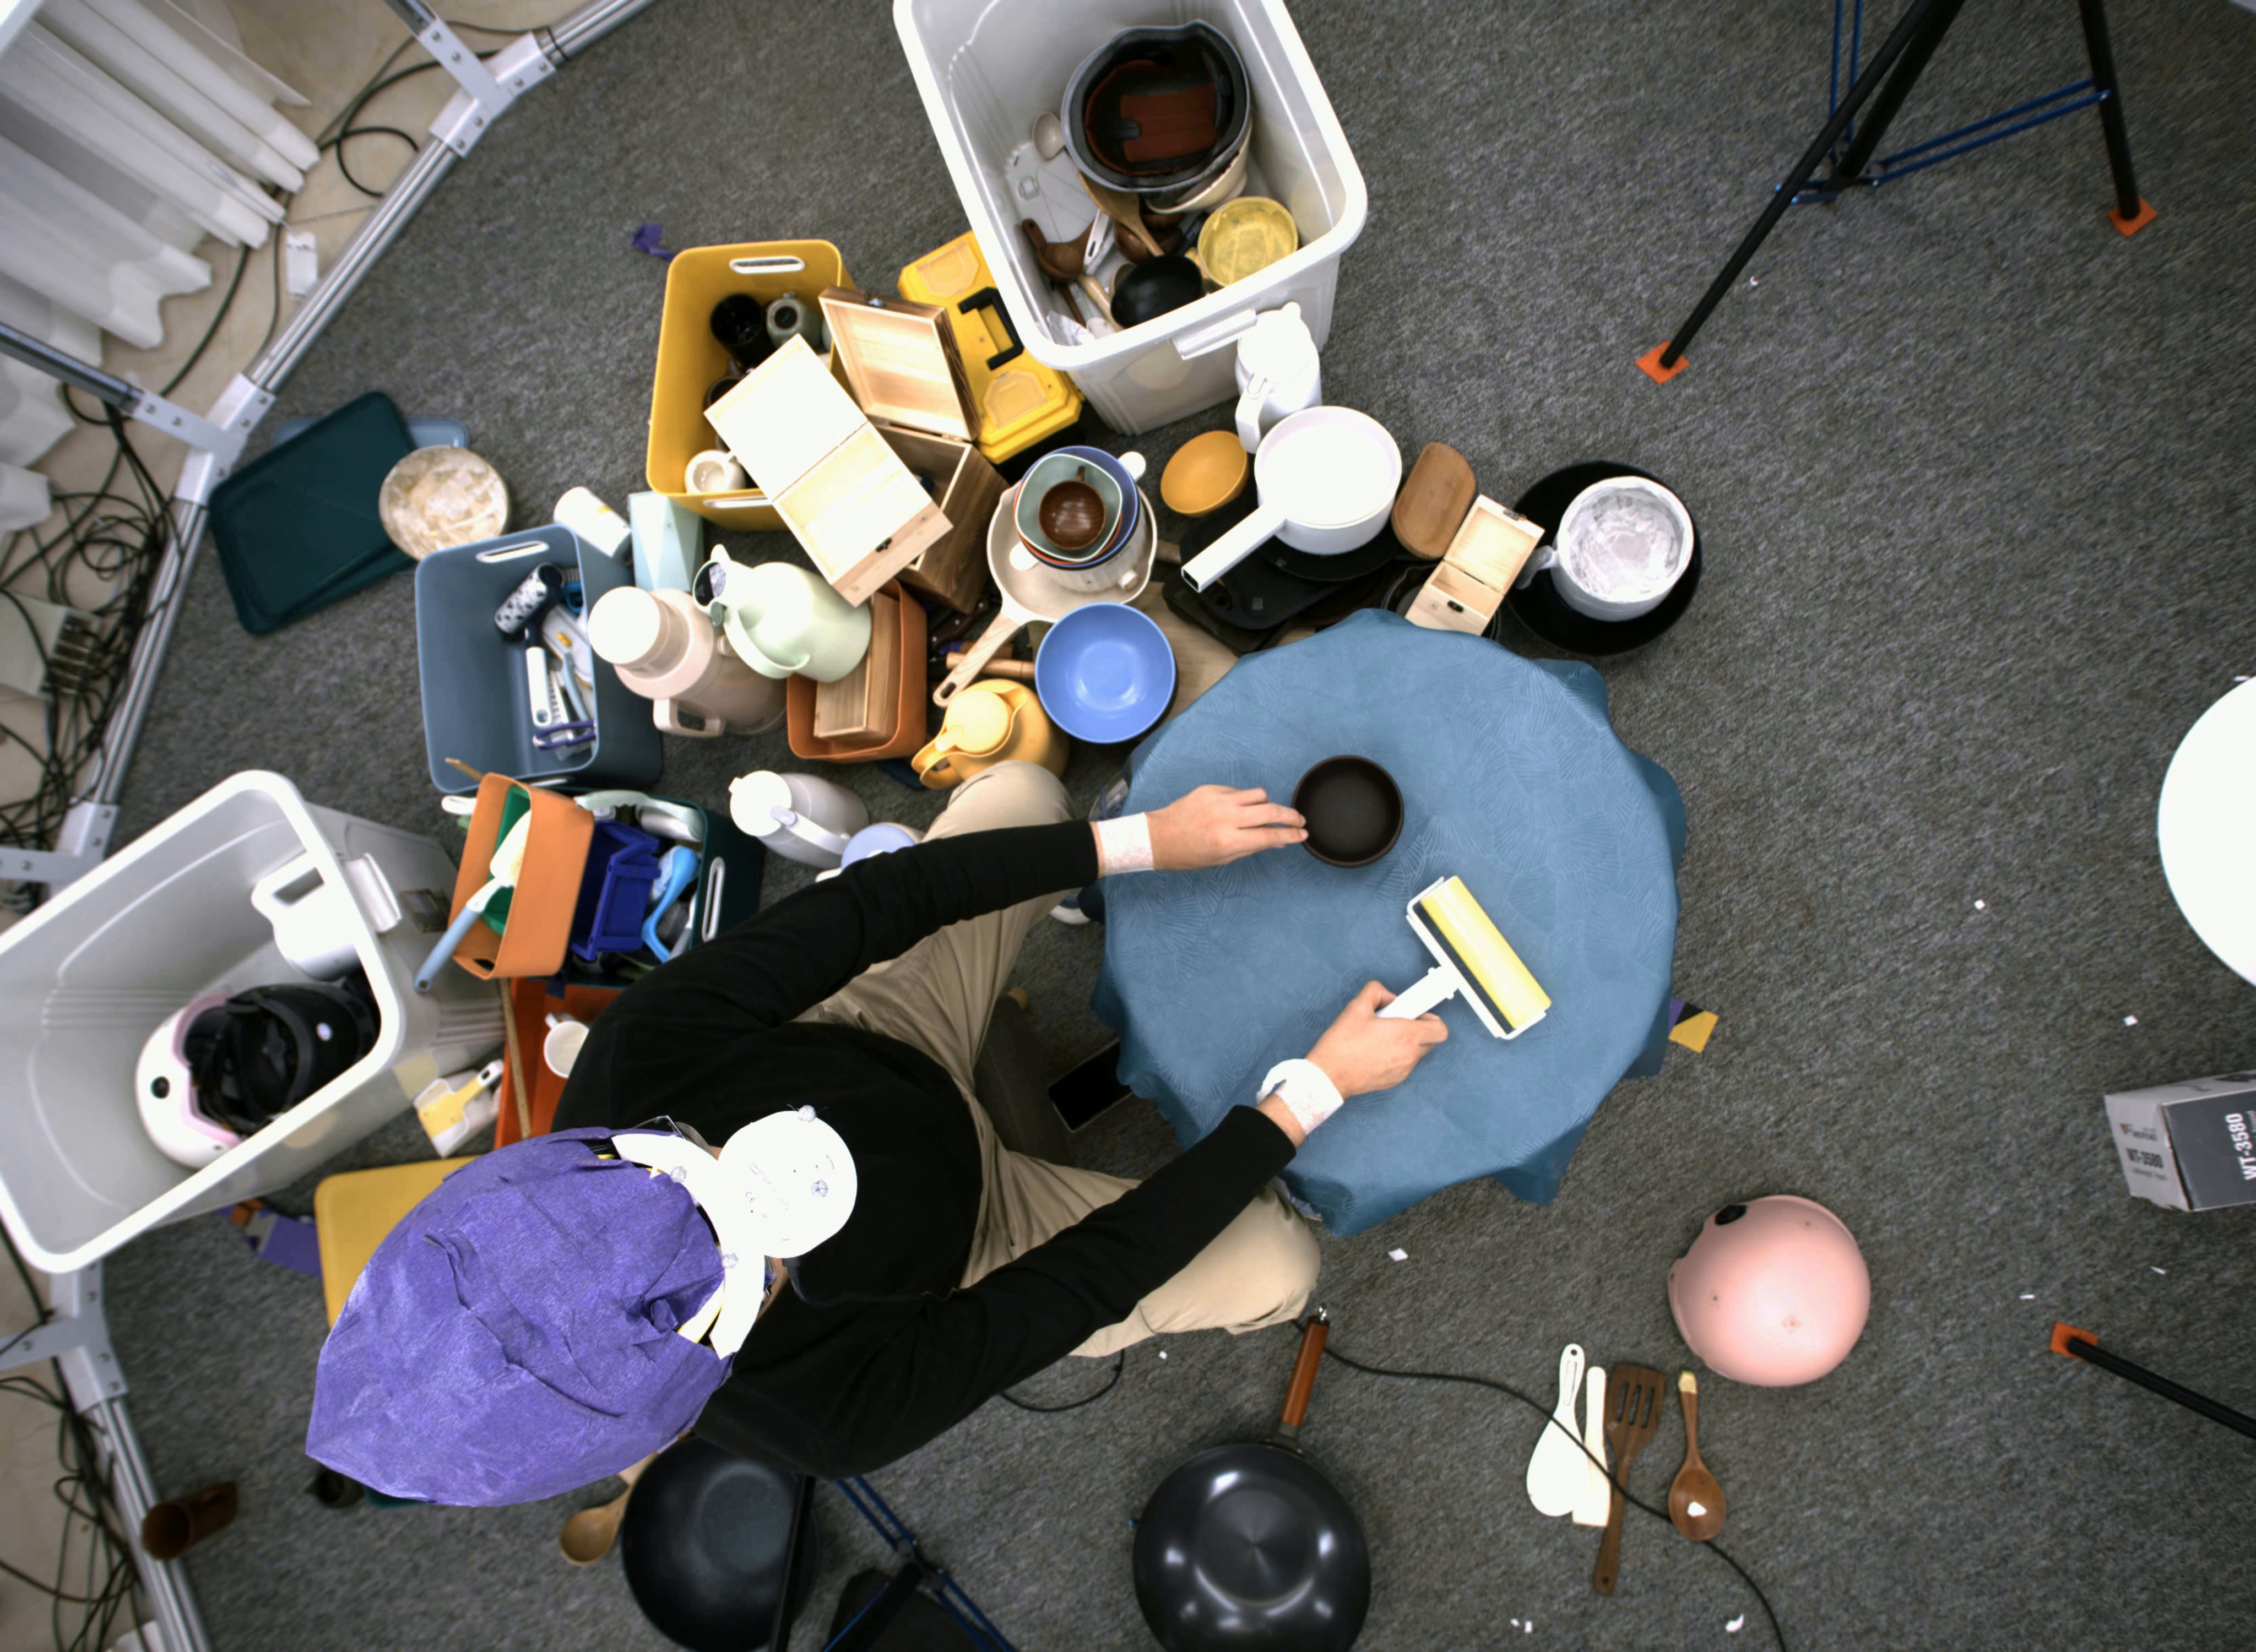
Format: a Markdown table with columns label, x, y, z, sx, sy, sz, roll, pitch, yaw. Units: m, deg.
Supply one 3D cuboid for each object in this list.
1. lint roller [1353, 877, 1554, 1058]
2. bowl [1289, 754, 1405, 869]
| label | x | y | z | sx | sy | sz | roll | pitch | yaw |
| --- | --- | --- | --- | --- | --- | --- | --- | --- | --- |
| lint roller | 0.310 | 0.170 | 1.409 | 0.191 | 0.052 | 0.173 | -36 | 81 | -8 |
| bowl | 0.228 | -0.013 | 1.435 | 0.118 | 0.070 | 0.117 | -1 | 85 | 10 |
